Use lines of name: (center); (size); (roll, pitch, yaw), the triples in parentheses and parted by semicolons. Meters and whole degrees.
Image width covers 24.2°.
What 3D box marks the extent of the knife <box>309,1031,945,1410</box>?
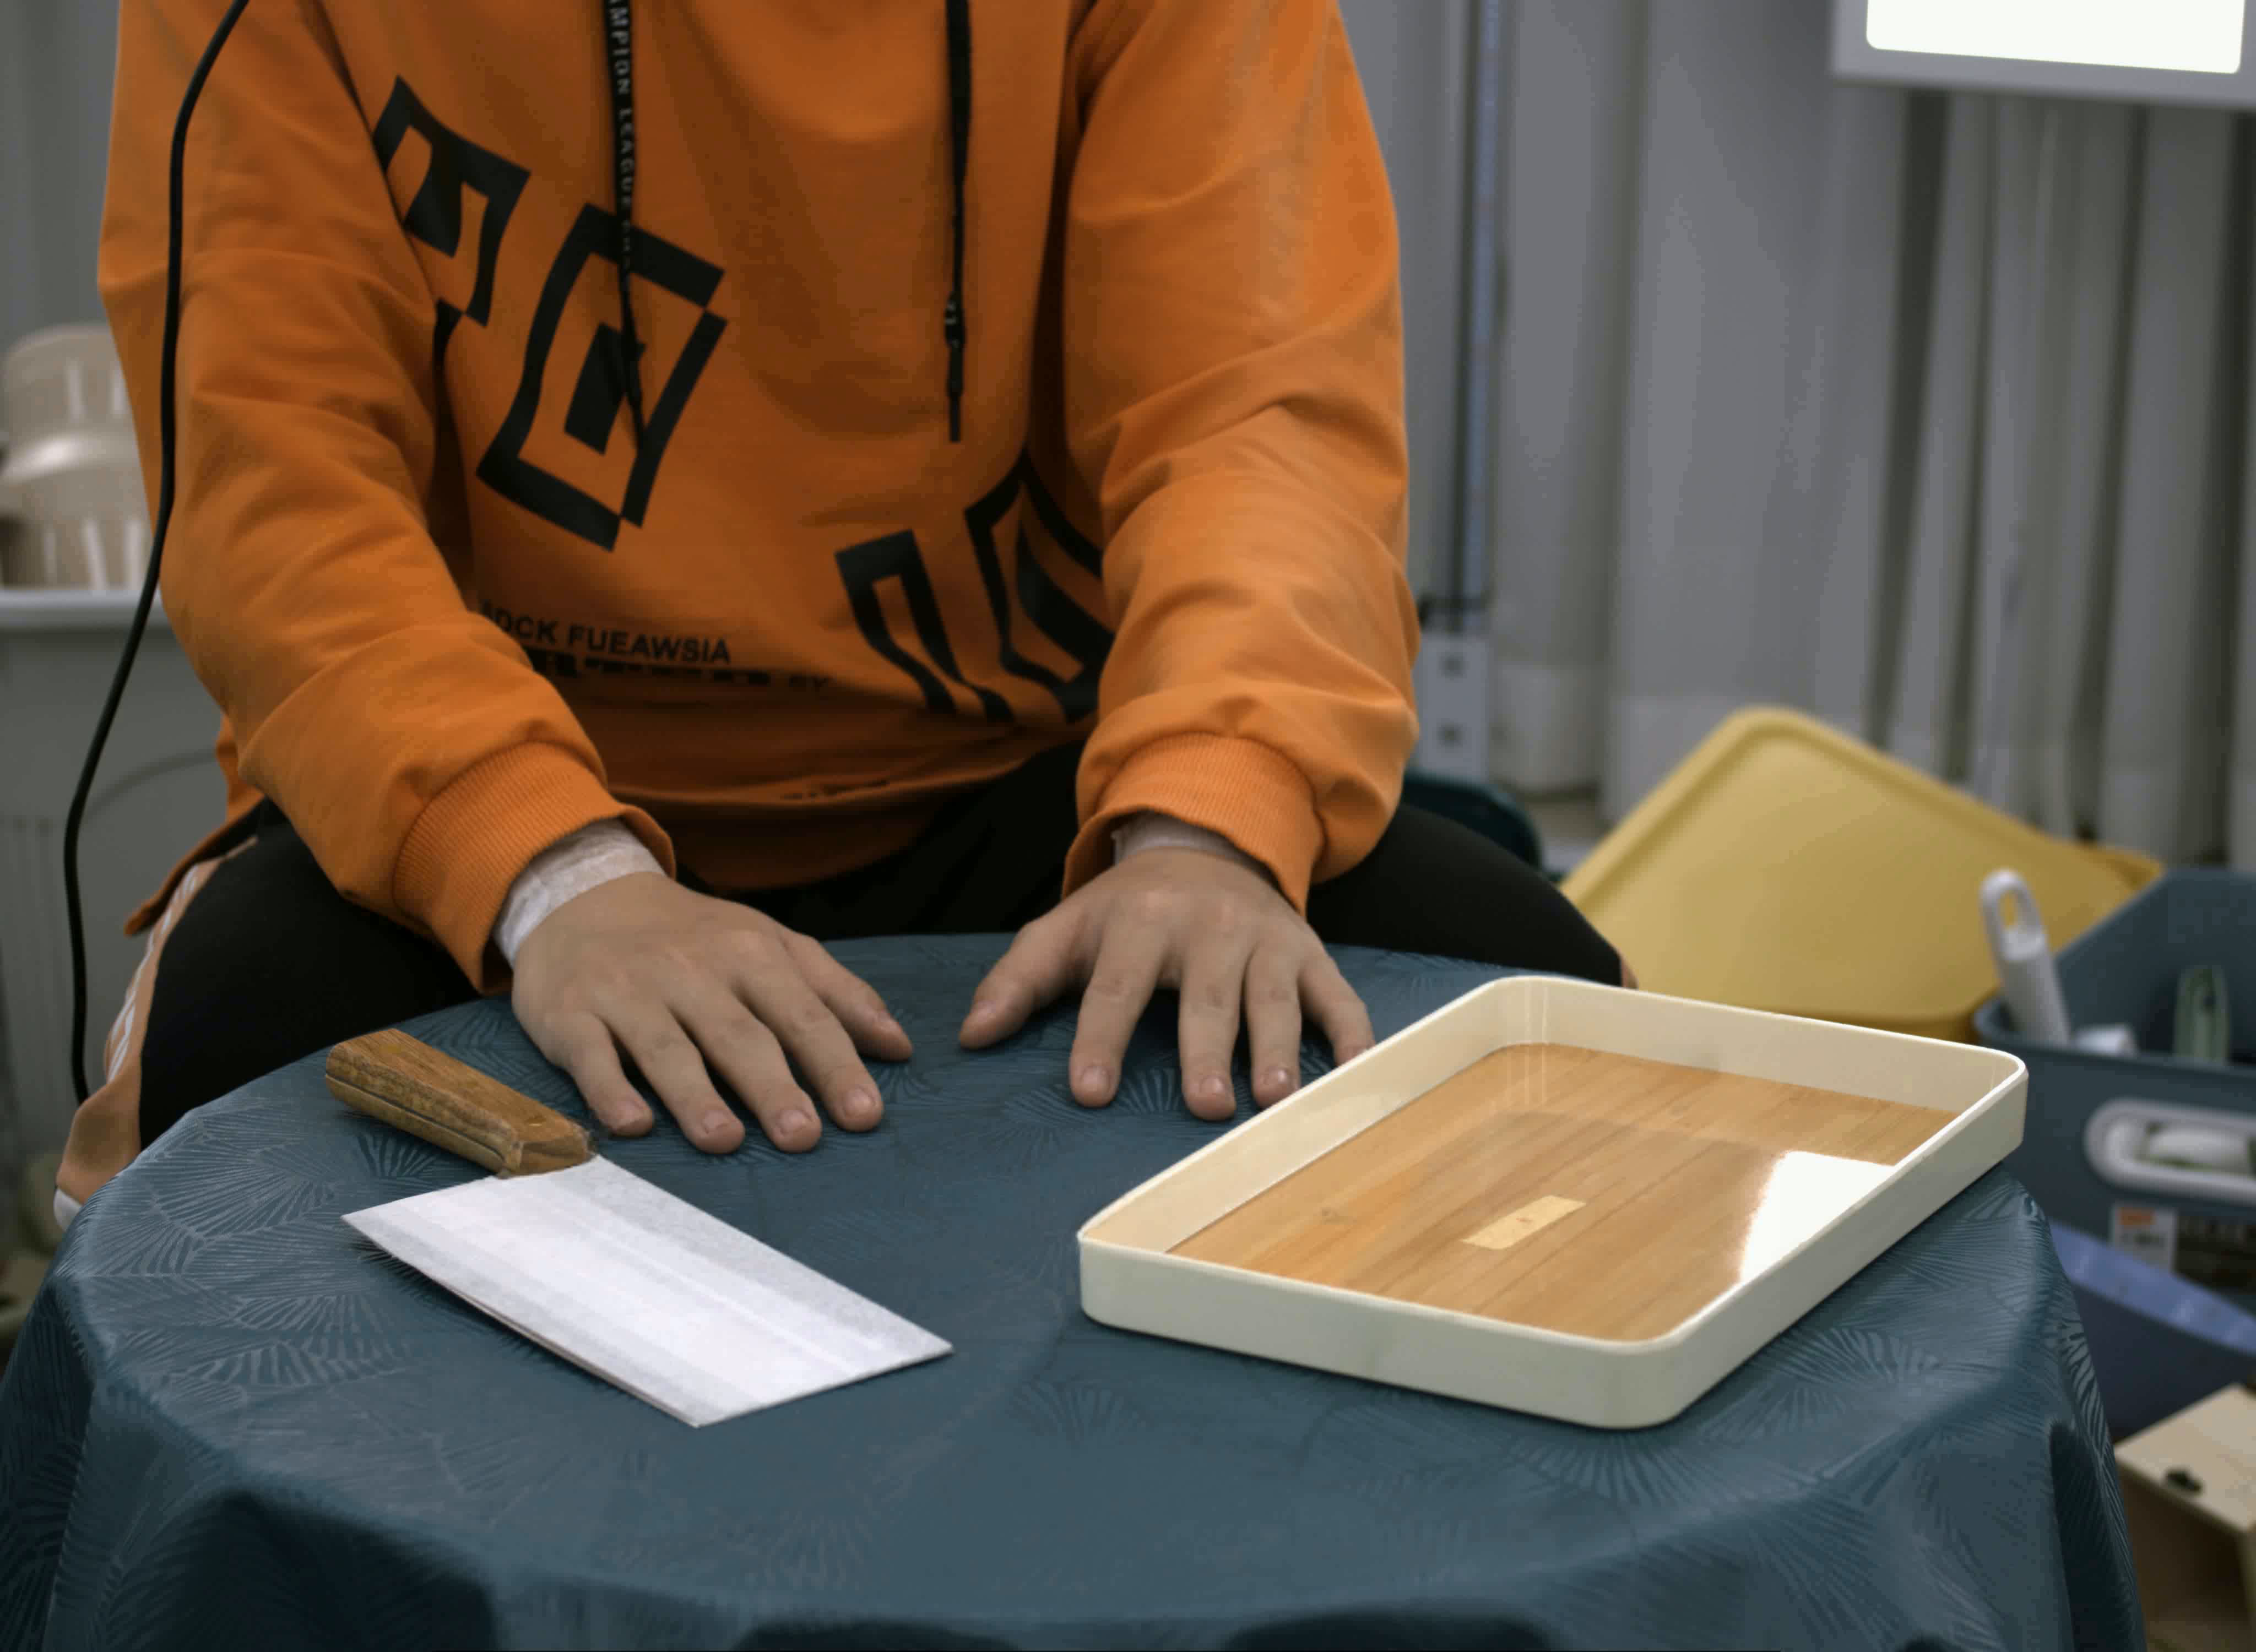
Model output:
knife: (-0.177, 0.117, 1.570); (0.093, 0.021, 0.301); (-13, 23, -37)

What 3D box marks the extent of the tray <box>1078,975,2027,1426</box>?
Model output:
tray: (0.135, 0.107, 1.592); (0.189, 0.027, 0.301); (9, 18, 28)
